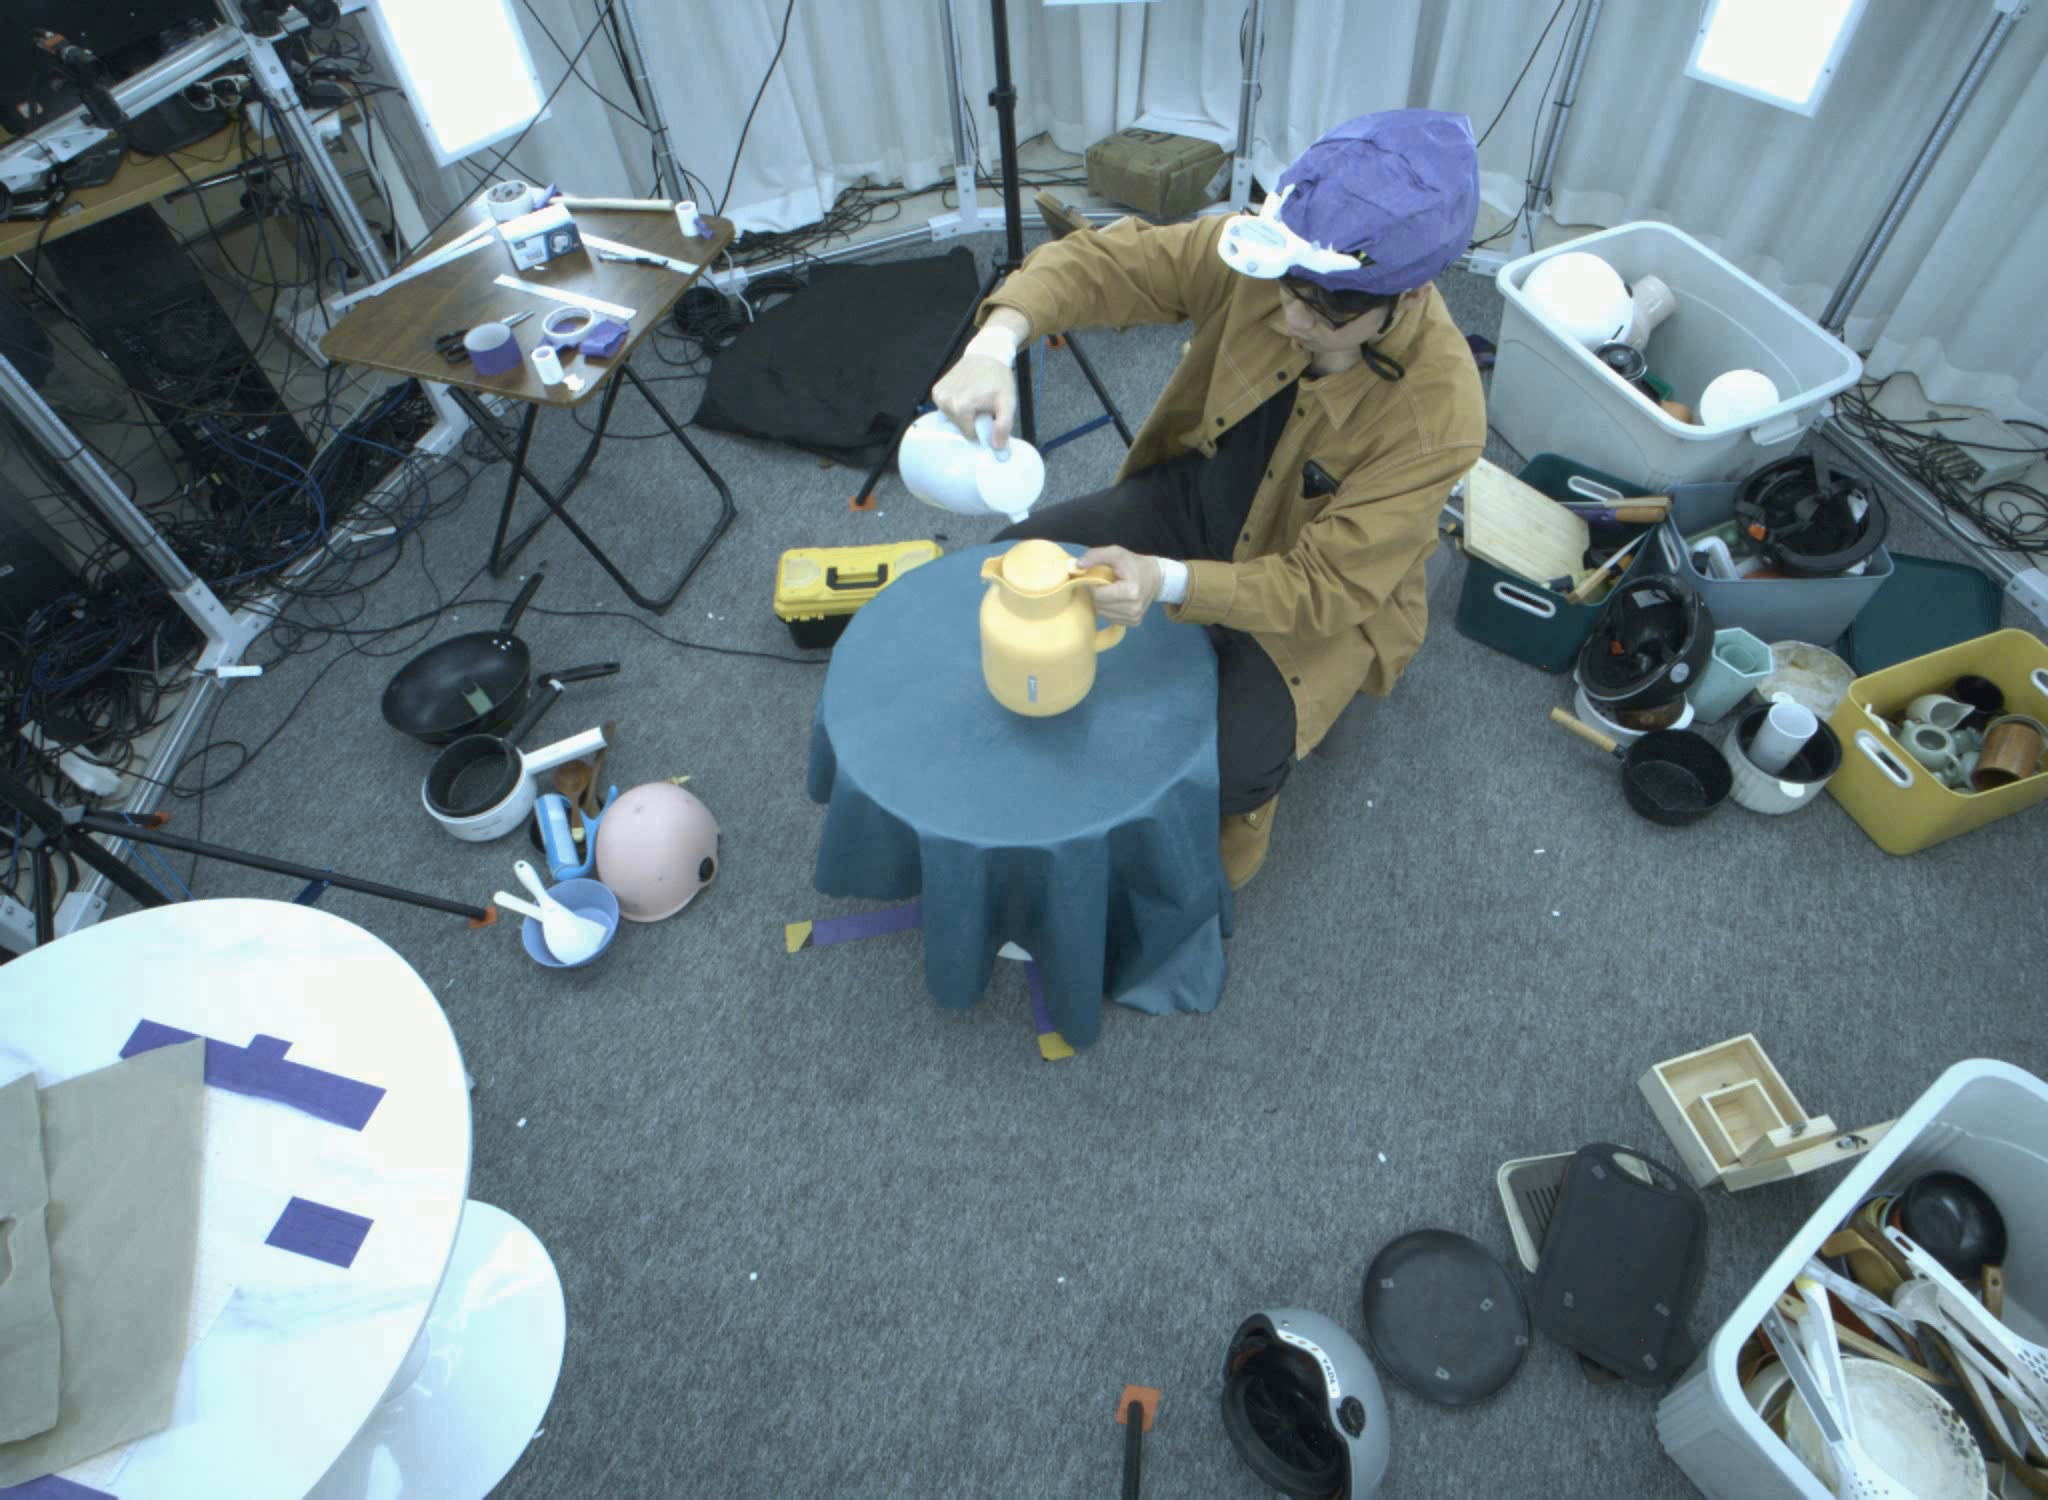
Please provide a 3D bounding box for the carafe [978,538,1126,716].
[{"bbox_3d":[0.037,-0.171,1.683,0.202,0.263,0.162,3,58,5],"label":"carafe"}]

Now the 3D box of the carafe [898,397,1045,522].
[{"bbox_3d":[-0.073,-0.387,1.587,0.133,0.170,0.243,-29,28,-15],"label":"carafe"}]
